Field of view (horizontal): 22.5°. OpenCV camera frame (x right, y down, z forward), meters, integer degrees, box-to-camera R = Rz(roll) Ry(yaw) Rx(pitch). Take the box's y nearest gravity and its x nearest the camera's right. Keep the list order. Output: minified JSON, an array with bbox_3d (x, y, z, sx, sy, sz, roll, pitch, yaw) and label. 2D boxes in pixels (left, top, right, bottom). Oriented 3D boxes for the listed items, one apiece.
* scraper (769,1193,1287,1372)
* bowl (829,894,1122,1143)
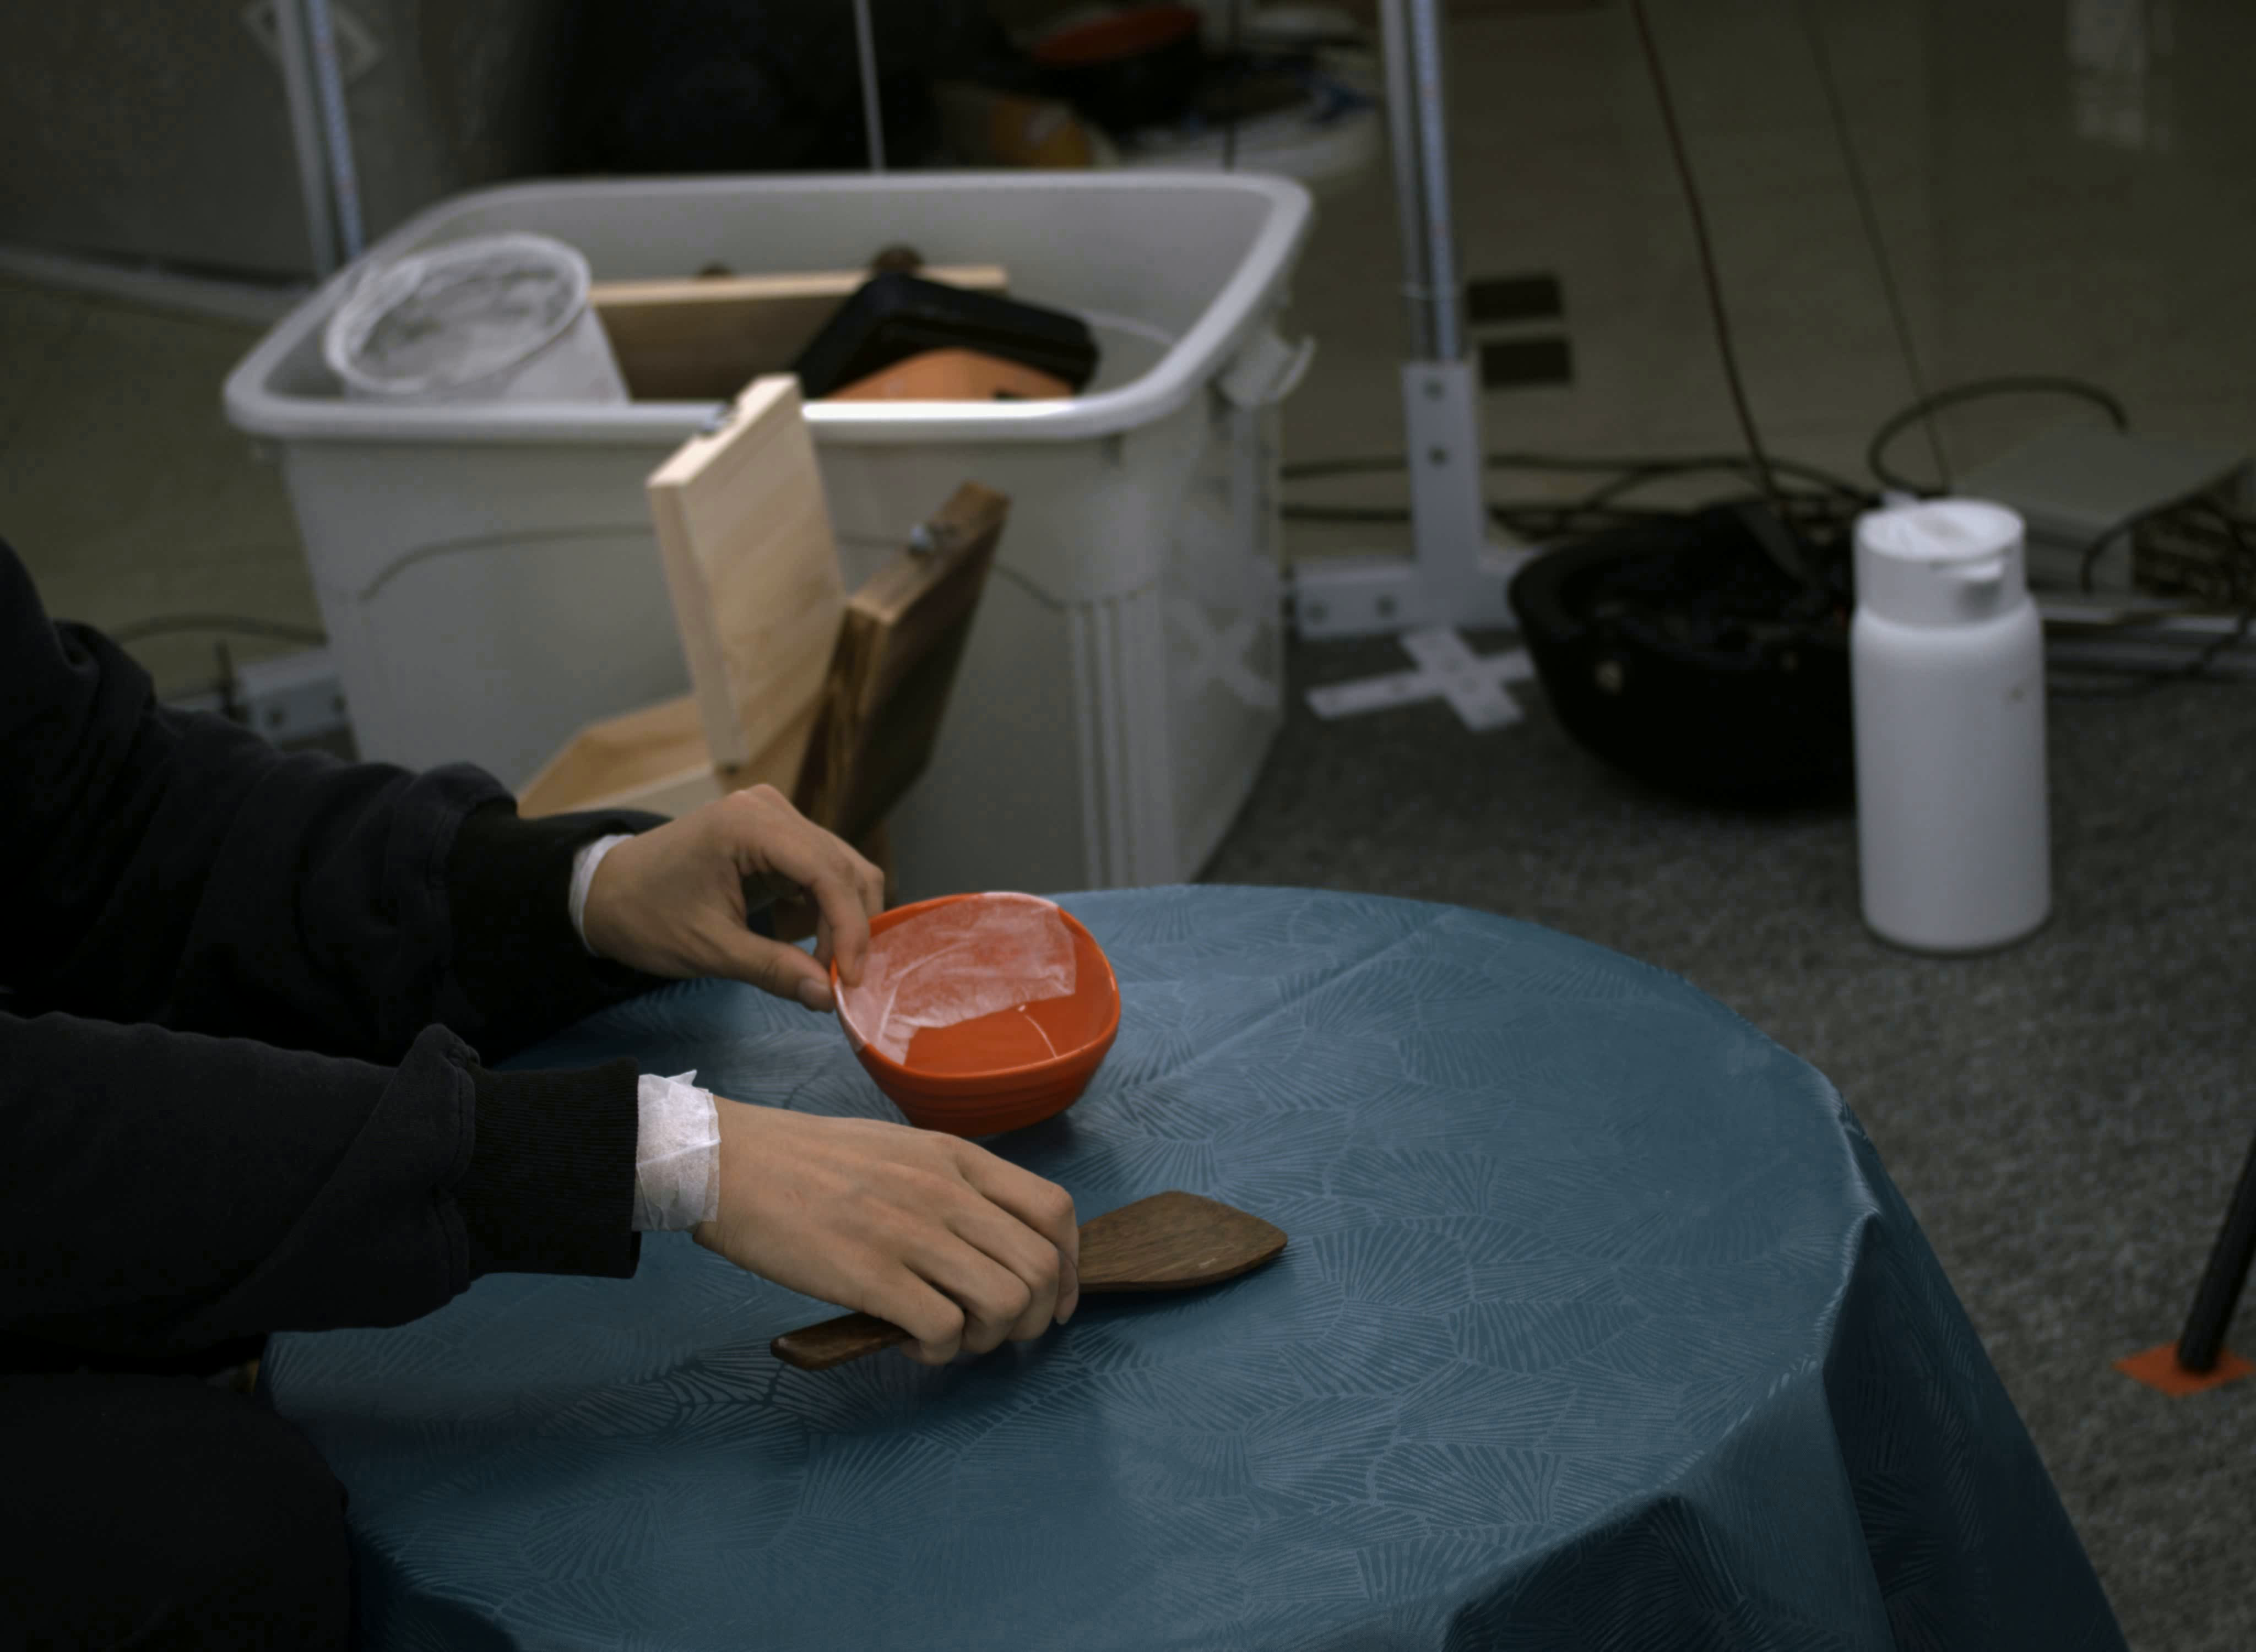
[{"bbox_3d":[-0.040,0.168,2.060,0.210,0.011,0.075,-14,21,-37],"label":"scraper"},{"bbox_3d":[-0.060,0.082,2.214,0.119,0.052,0.117,2,40,-1],"label":"bowl"}]
